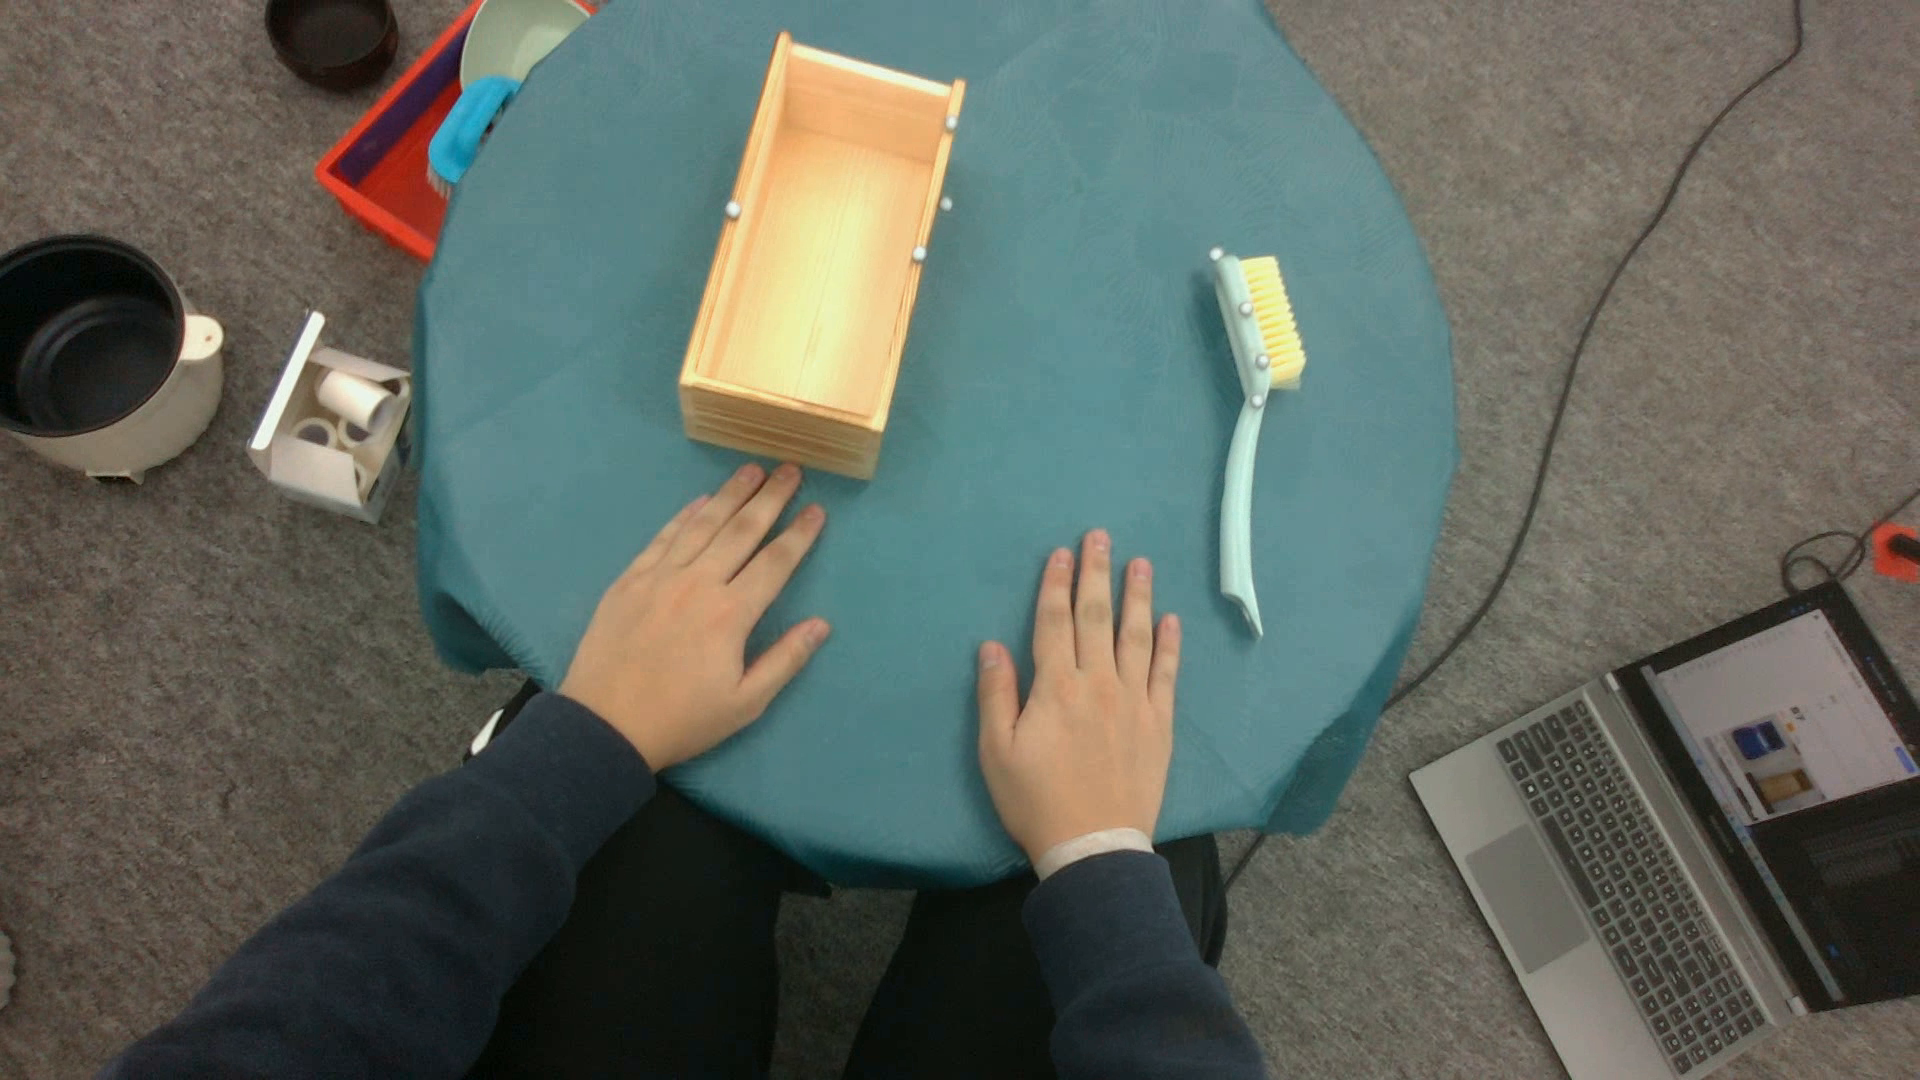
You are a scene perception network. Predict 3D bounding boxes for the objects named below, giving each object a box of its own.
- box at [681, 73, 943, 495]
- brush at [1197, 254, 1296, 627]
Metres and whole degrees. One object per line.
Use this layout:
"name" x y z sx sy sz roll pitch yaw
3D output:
"box" -0.080 -0.143 0.773 0.107 0.080 0.212 9 71 -4
"brush" 0.175 -0.063 0.800 0.049 0.037 0.229 -3 72 0
